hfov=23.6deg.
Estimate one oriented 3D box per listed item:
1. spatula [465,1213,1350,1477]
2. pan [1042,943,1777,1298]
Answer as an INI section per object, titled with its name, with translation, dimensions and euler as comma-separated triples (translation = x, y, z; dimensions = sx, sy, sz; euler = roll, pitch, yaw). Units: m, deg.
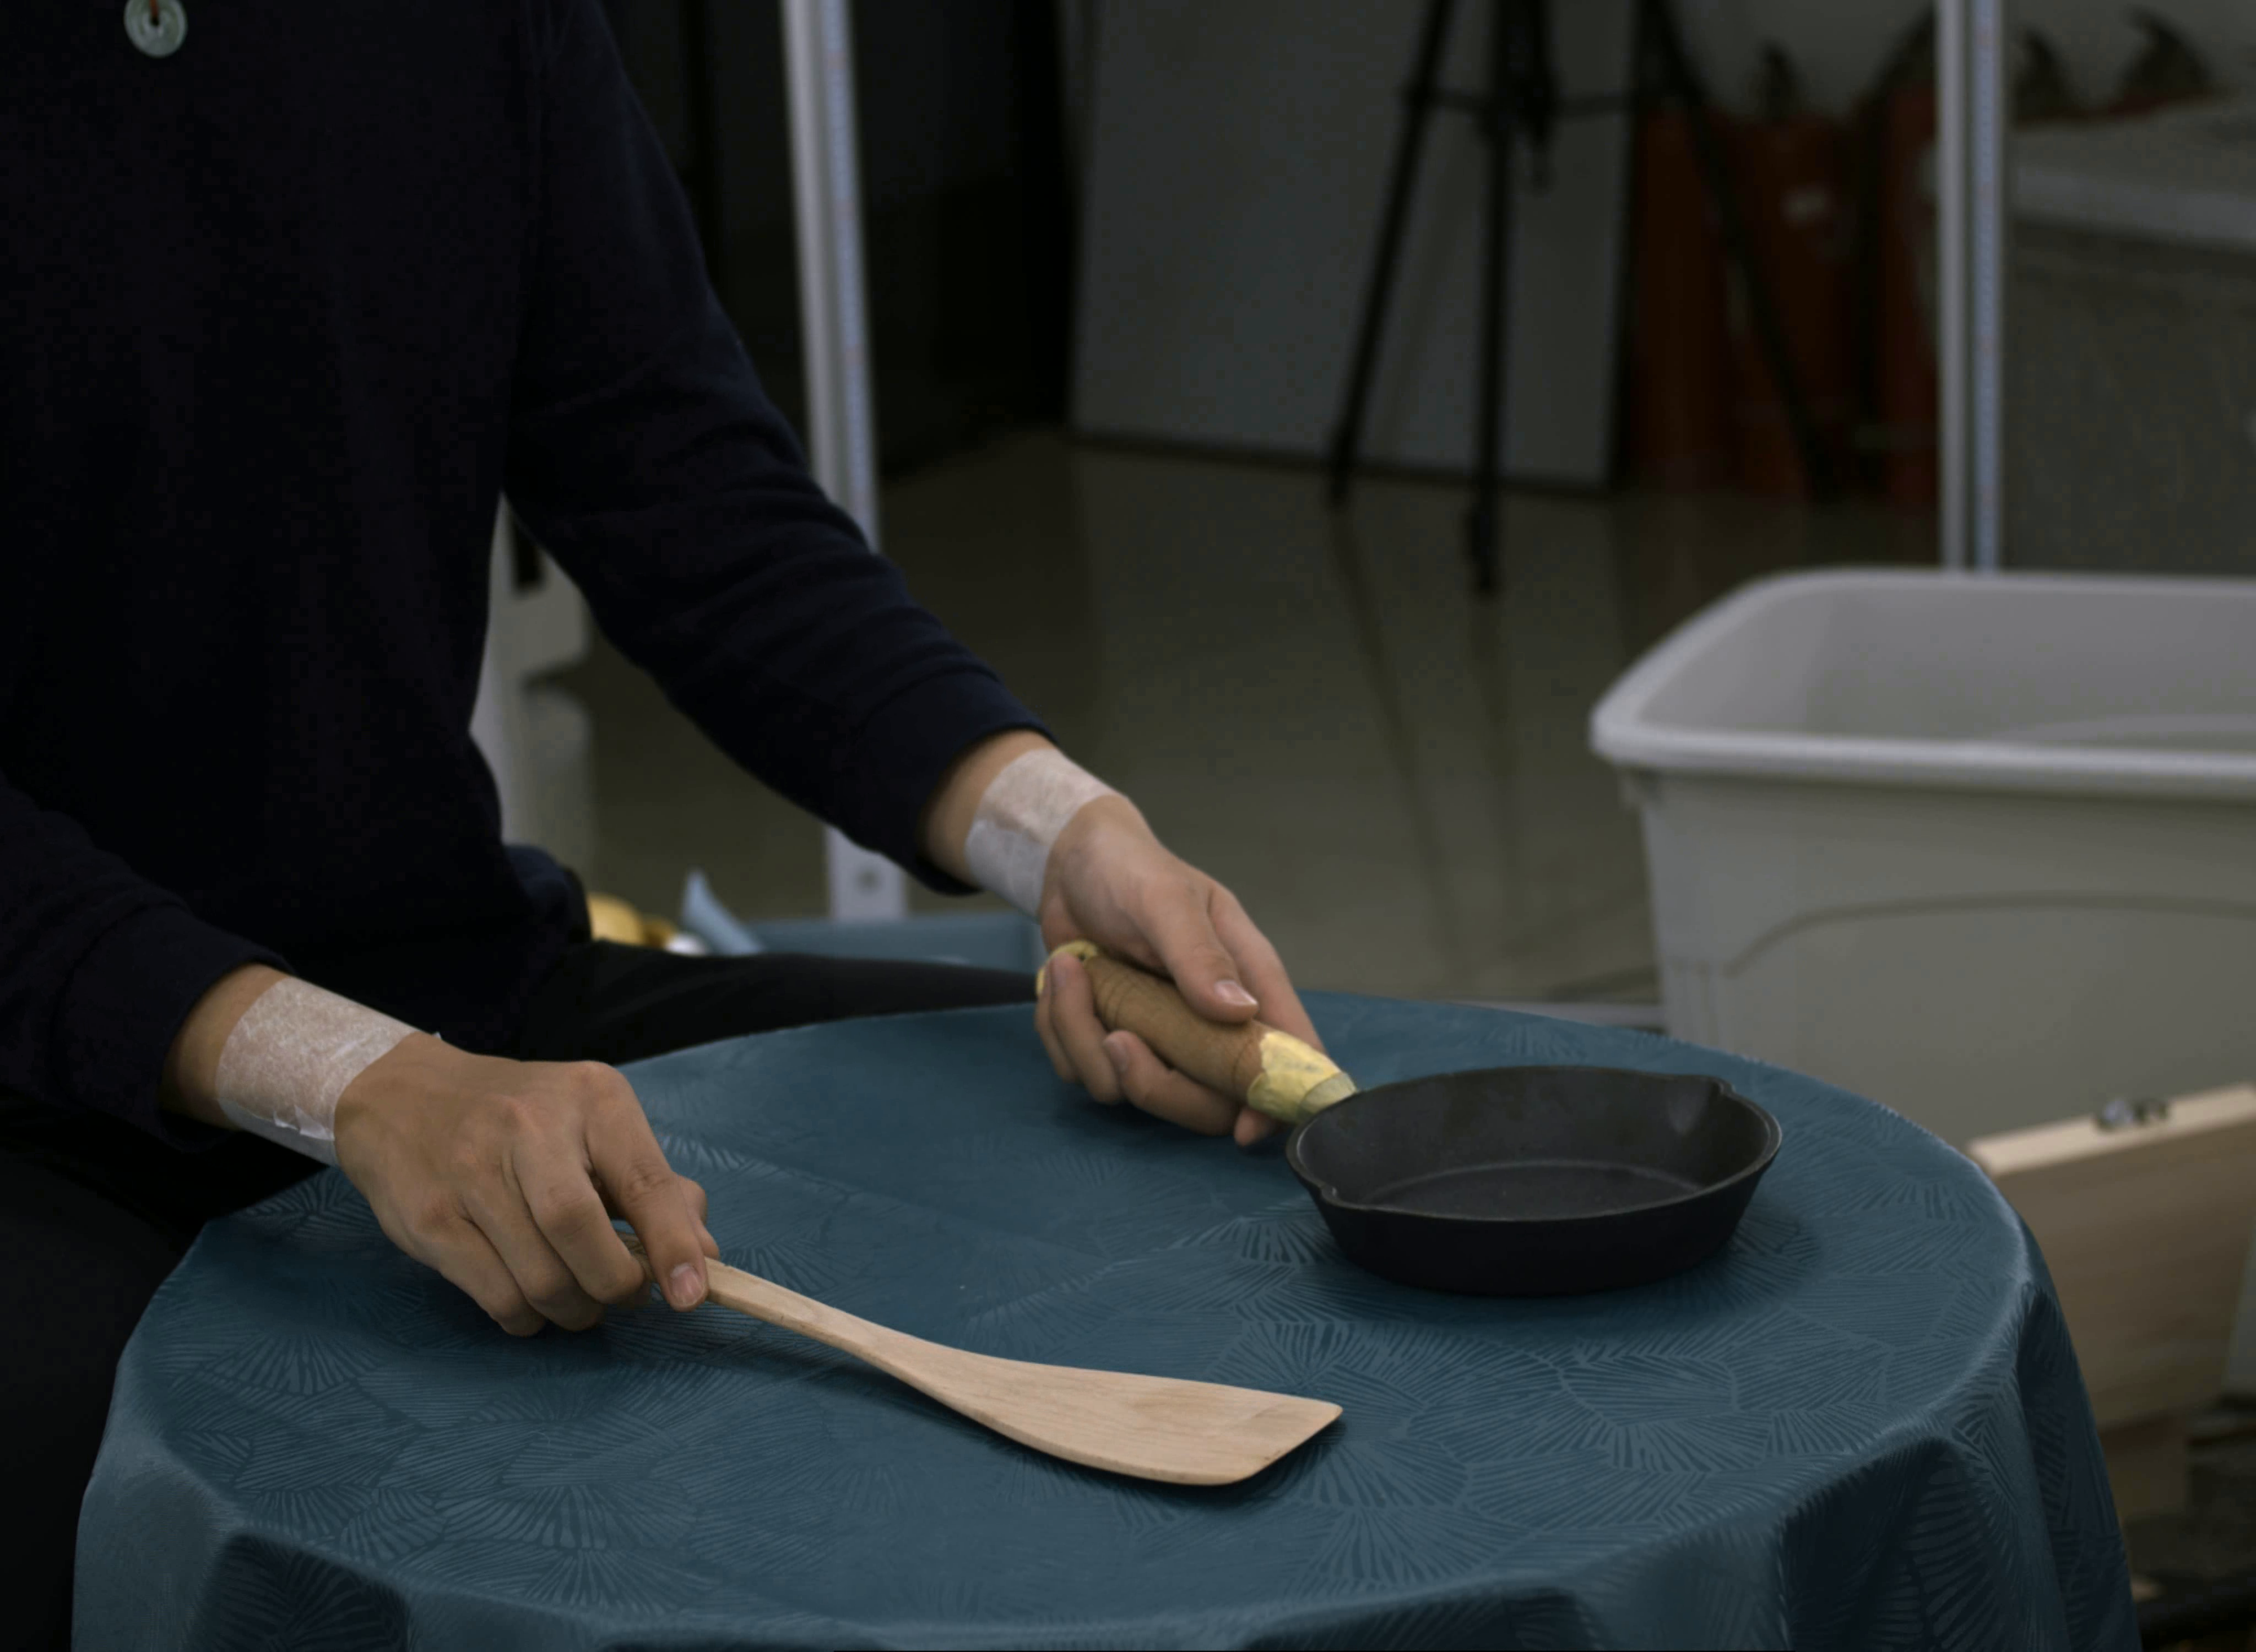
[spatula]
translation = -0.075, 0.150, 1.610
dimensions = 0.330, 0.017, 0.078
euler = 13, 16, 36
[pan]
translation = 0.076, 0.092, 1.762
dimensions = 0.165, 0.050, 0.327
euler = -14, 18, -35
